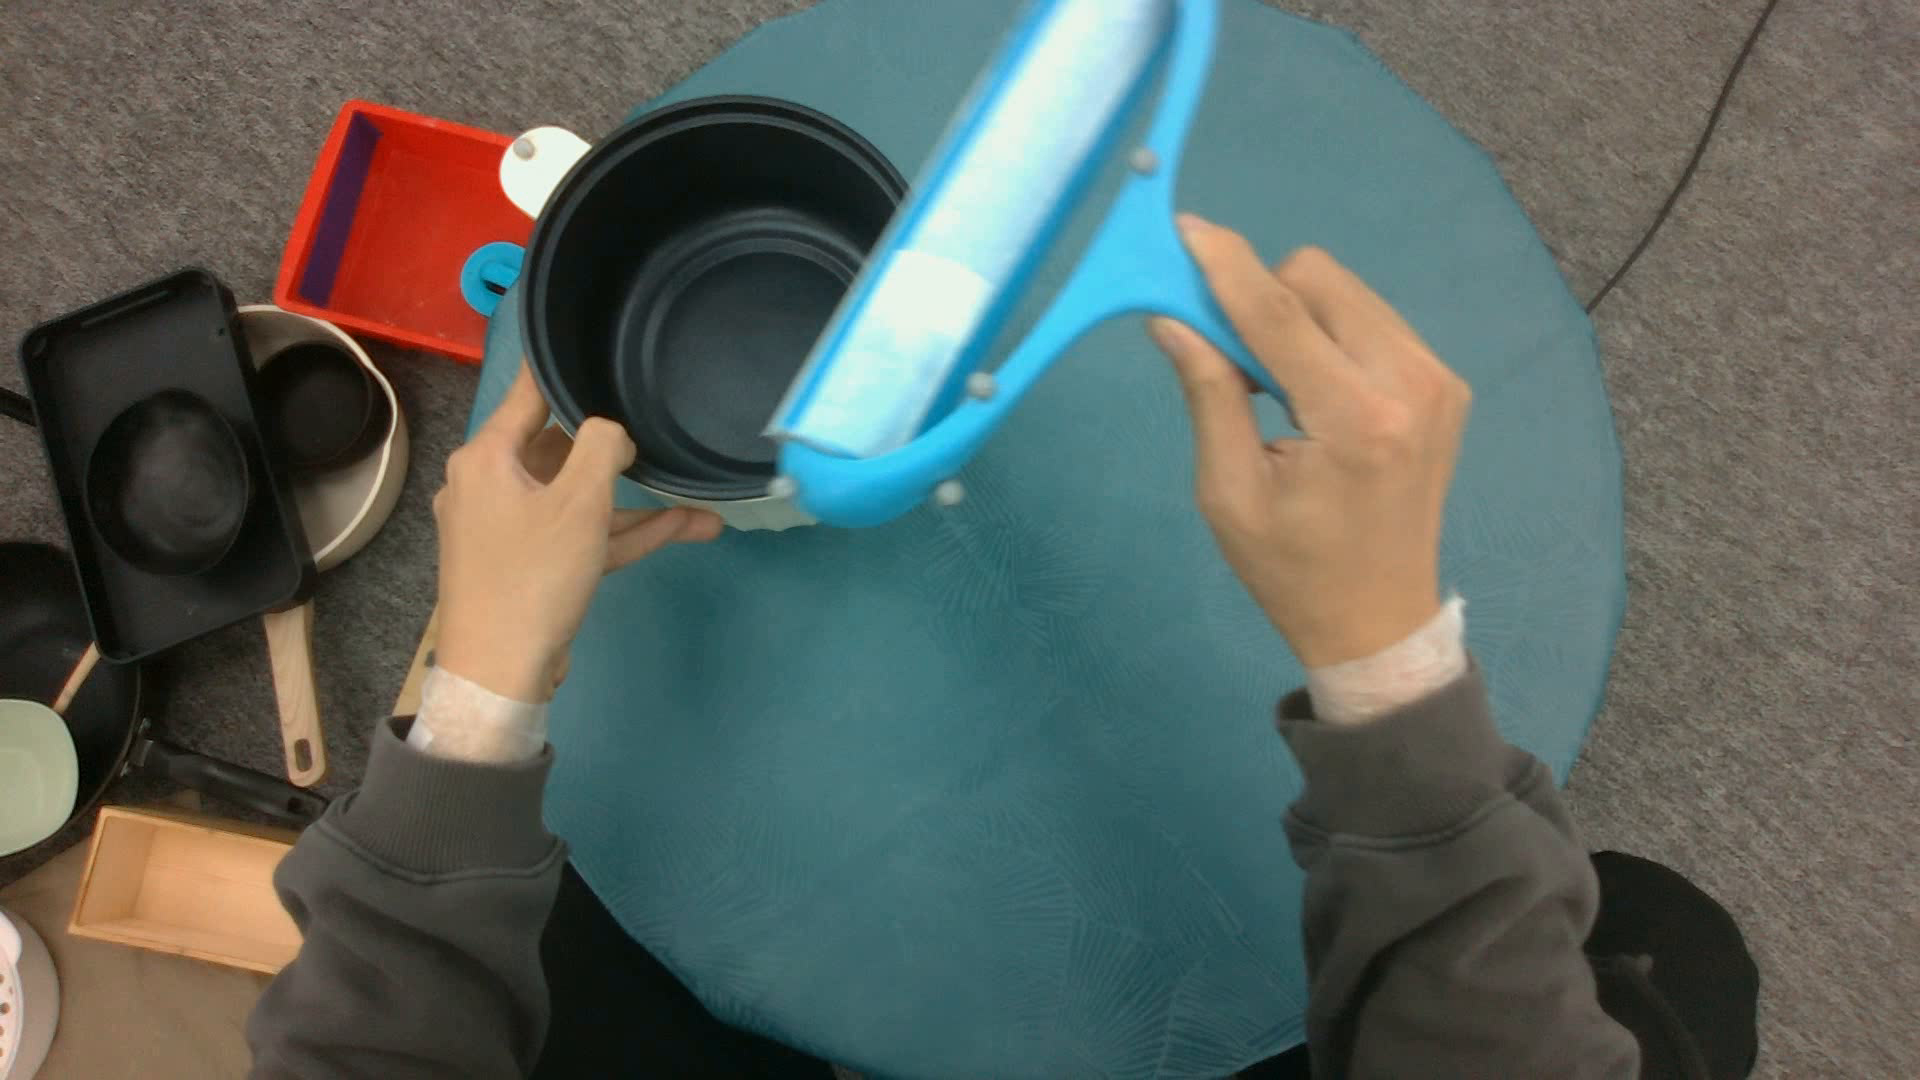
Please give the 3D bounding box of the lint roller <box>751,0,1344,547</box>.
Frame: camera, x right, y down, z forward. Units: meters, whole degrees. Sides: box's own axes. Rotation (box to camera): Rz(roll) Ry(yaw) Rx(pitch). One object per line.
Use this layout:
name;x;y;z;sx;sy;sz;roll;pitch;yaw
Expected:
lint roller;0.048;-0.081;0.465;0.180;0.068;0.229;22;80;11

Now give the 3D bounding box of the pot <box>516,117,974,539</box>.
pot;-0.092;-0.097;0.671;0.240;0.142;0.190;33;86;6
